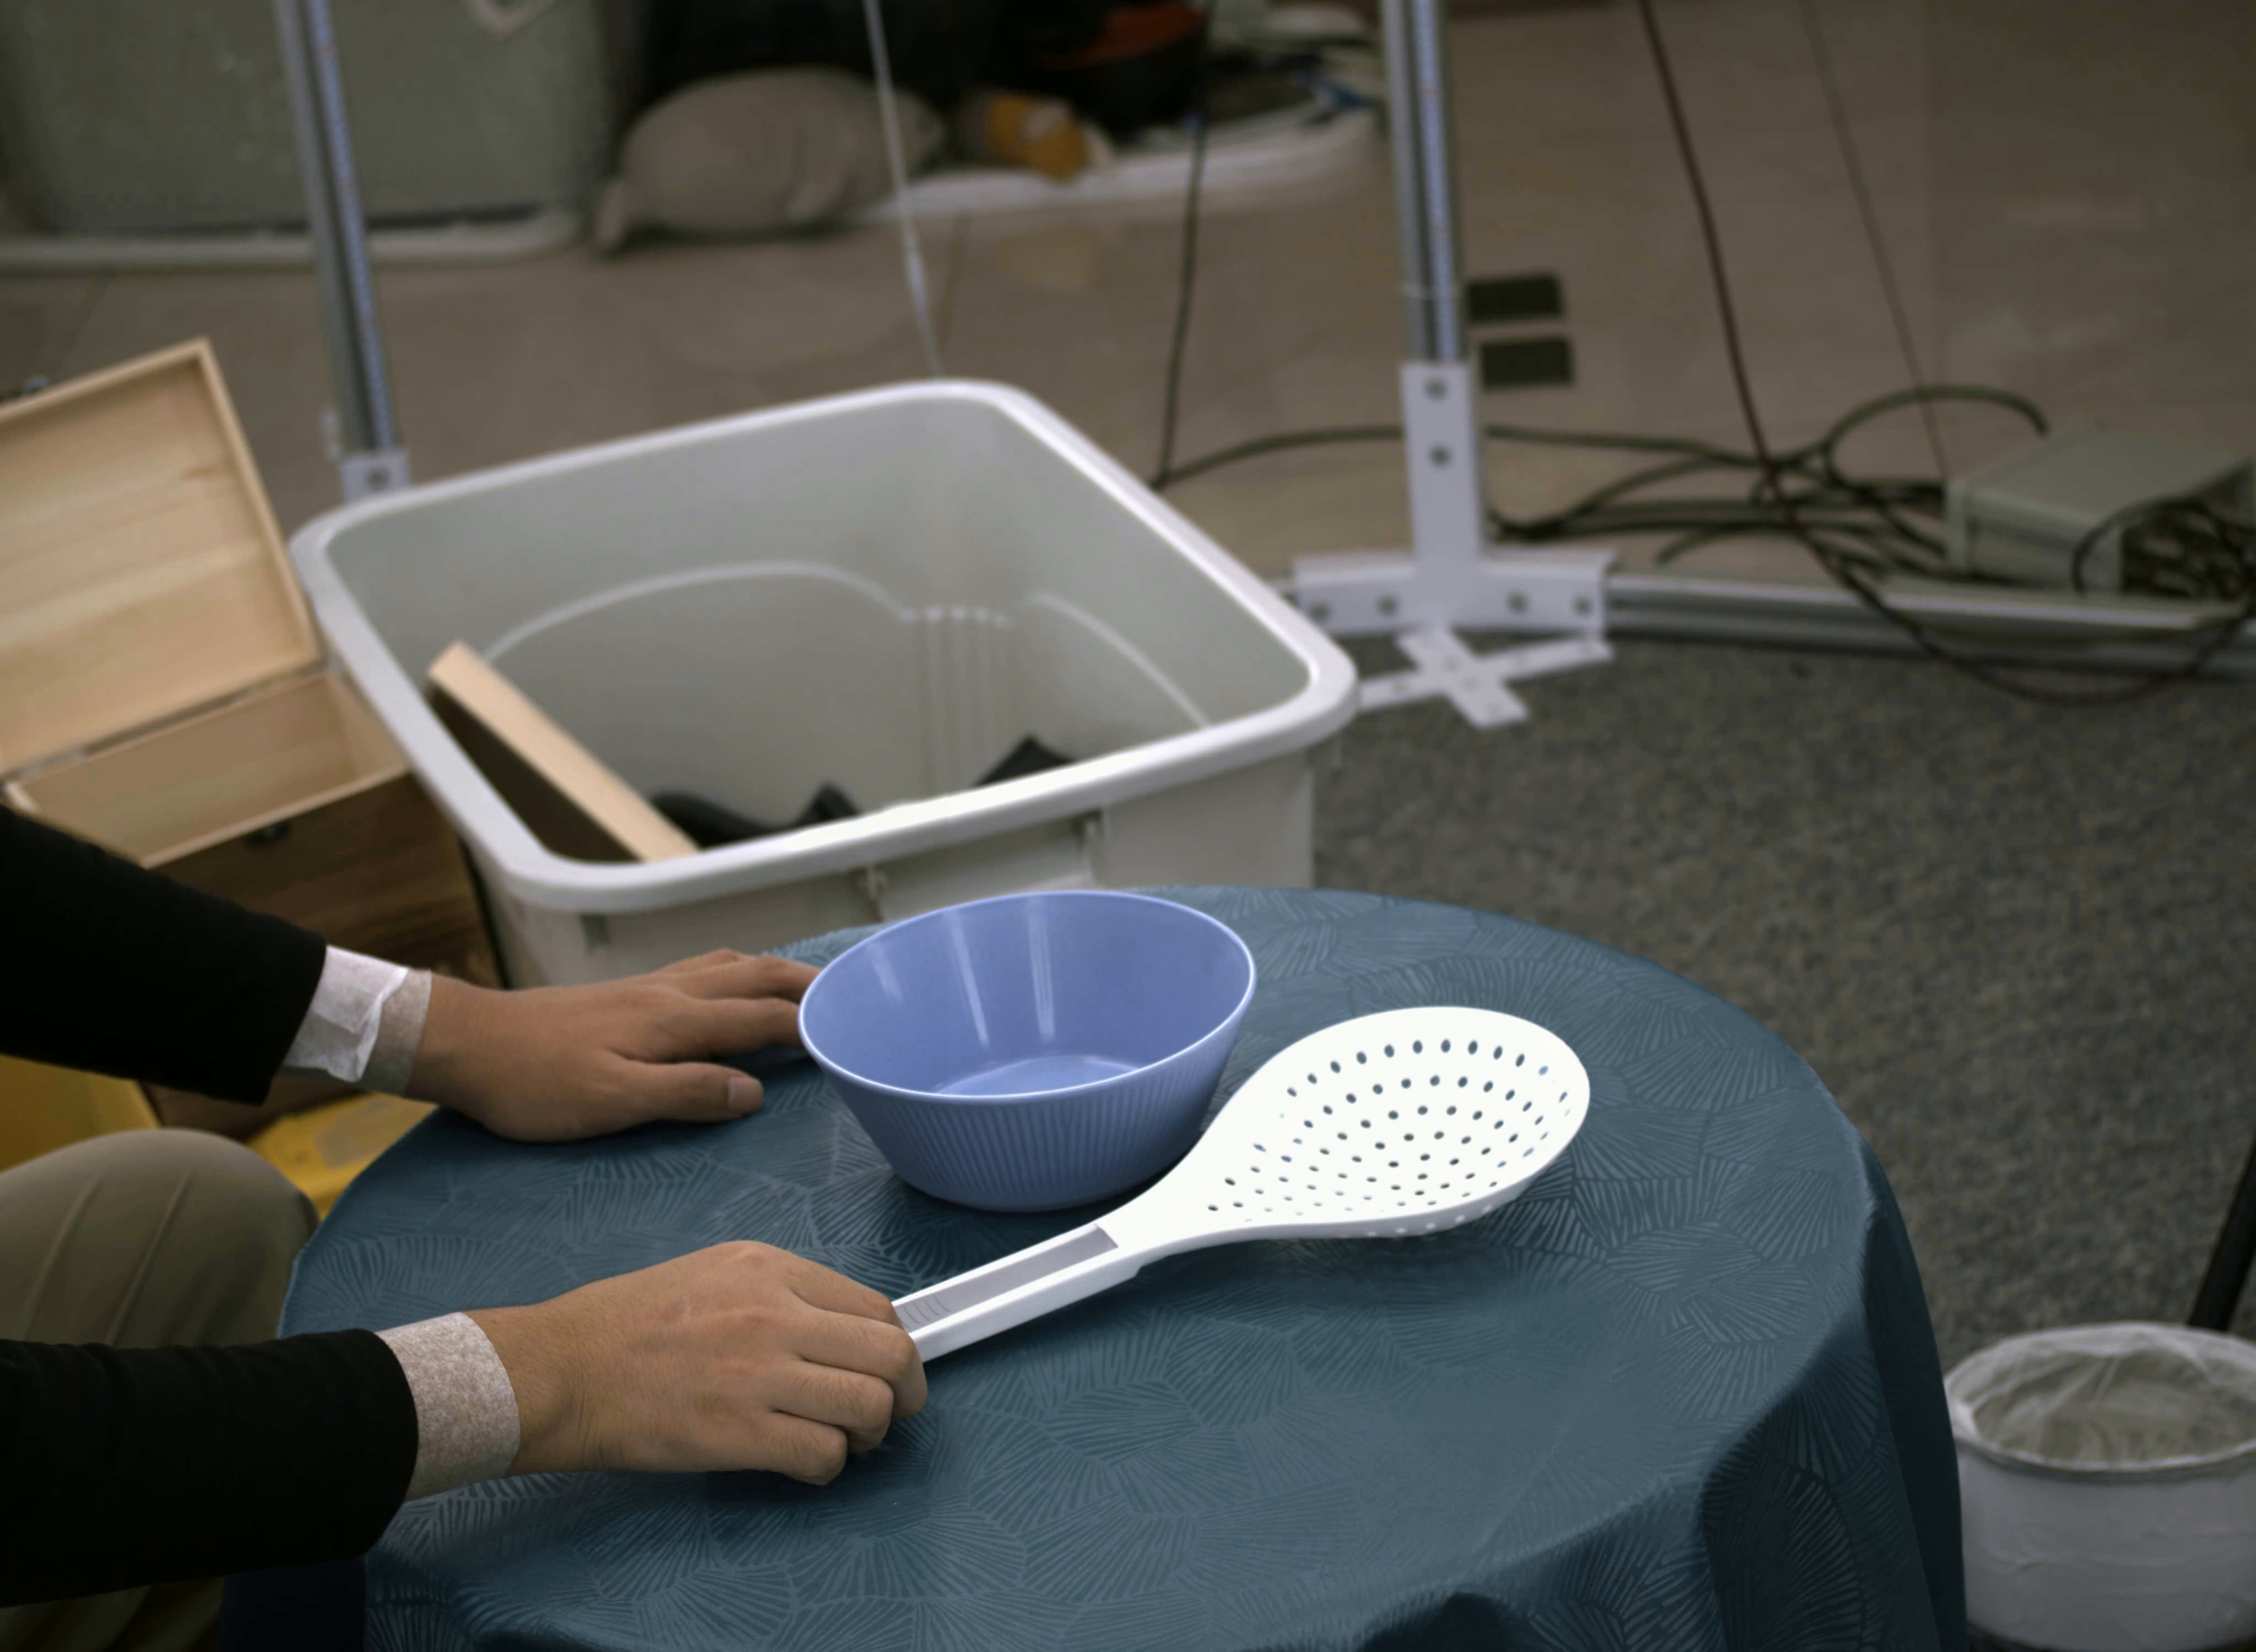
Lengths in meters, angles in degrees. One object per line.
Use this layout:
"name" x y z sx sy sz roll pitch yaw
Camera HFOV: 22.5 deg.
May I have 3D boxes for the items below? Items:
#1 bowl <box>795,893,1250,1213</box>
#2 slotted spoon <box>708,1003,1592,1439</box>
"bowl" -0.037 0.093 2.173 0.176 0.071 0.173 -6 26 3
"slotted spoon" 0.009 0.149 2.070 0.348 0.046 0.134 -17 33 -20
